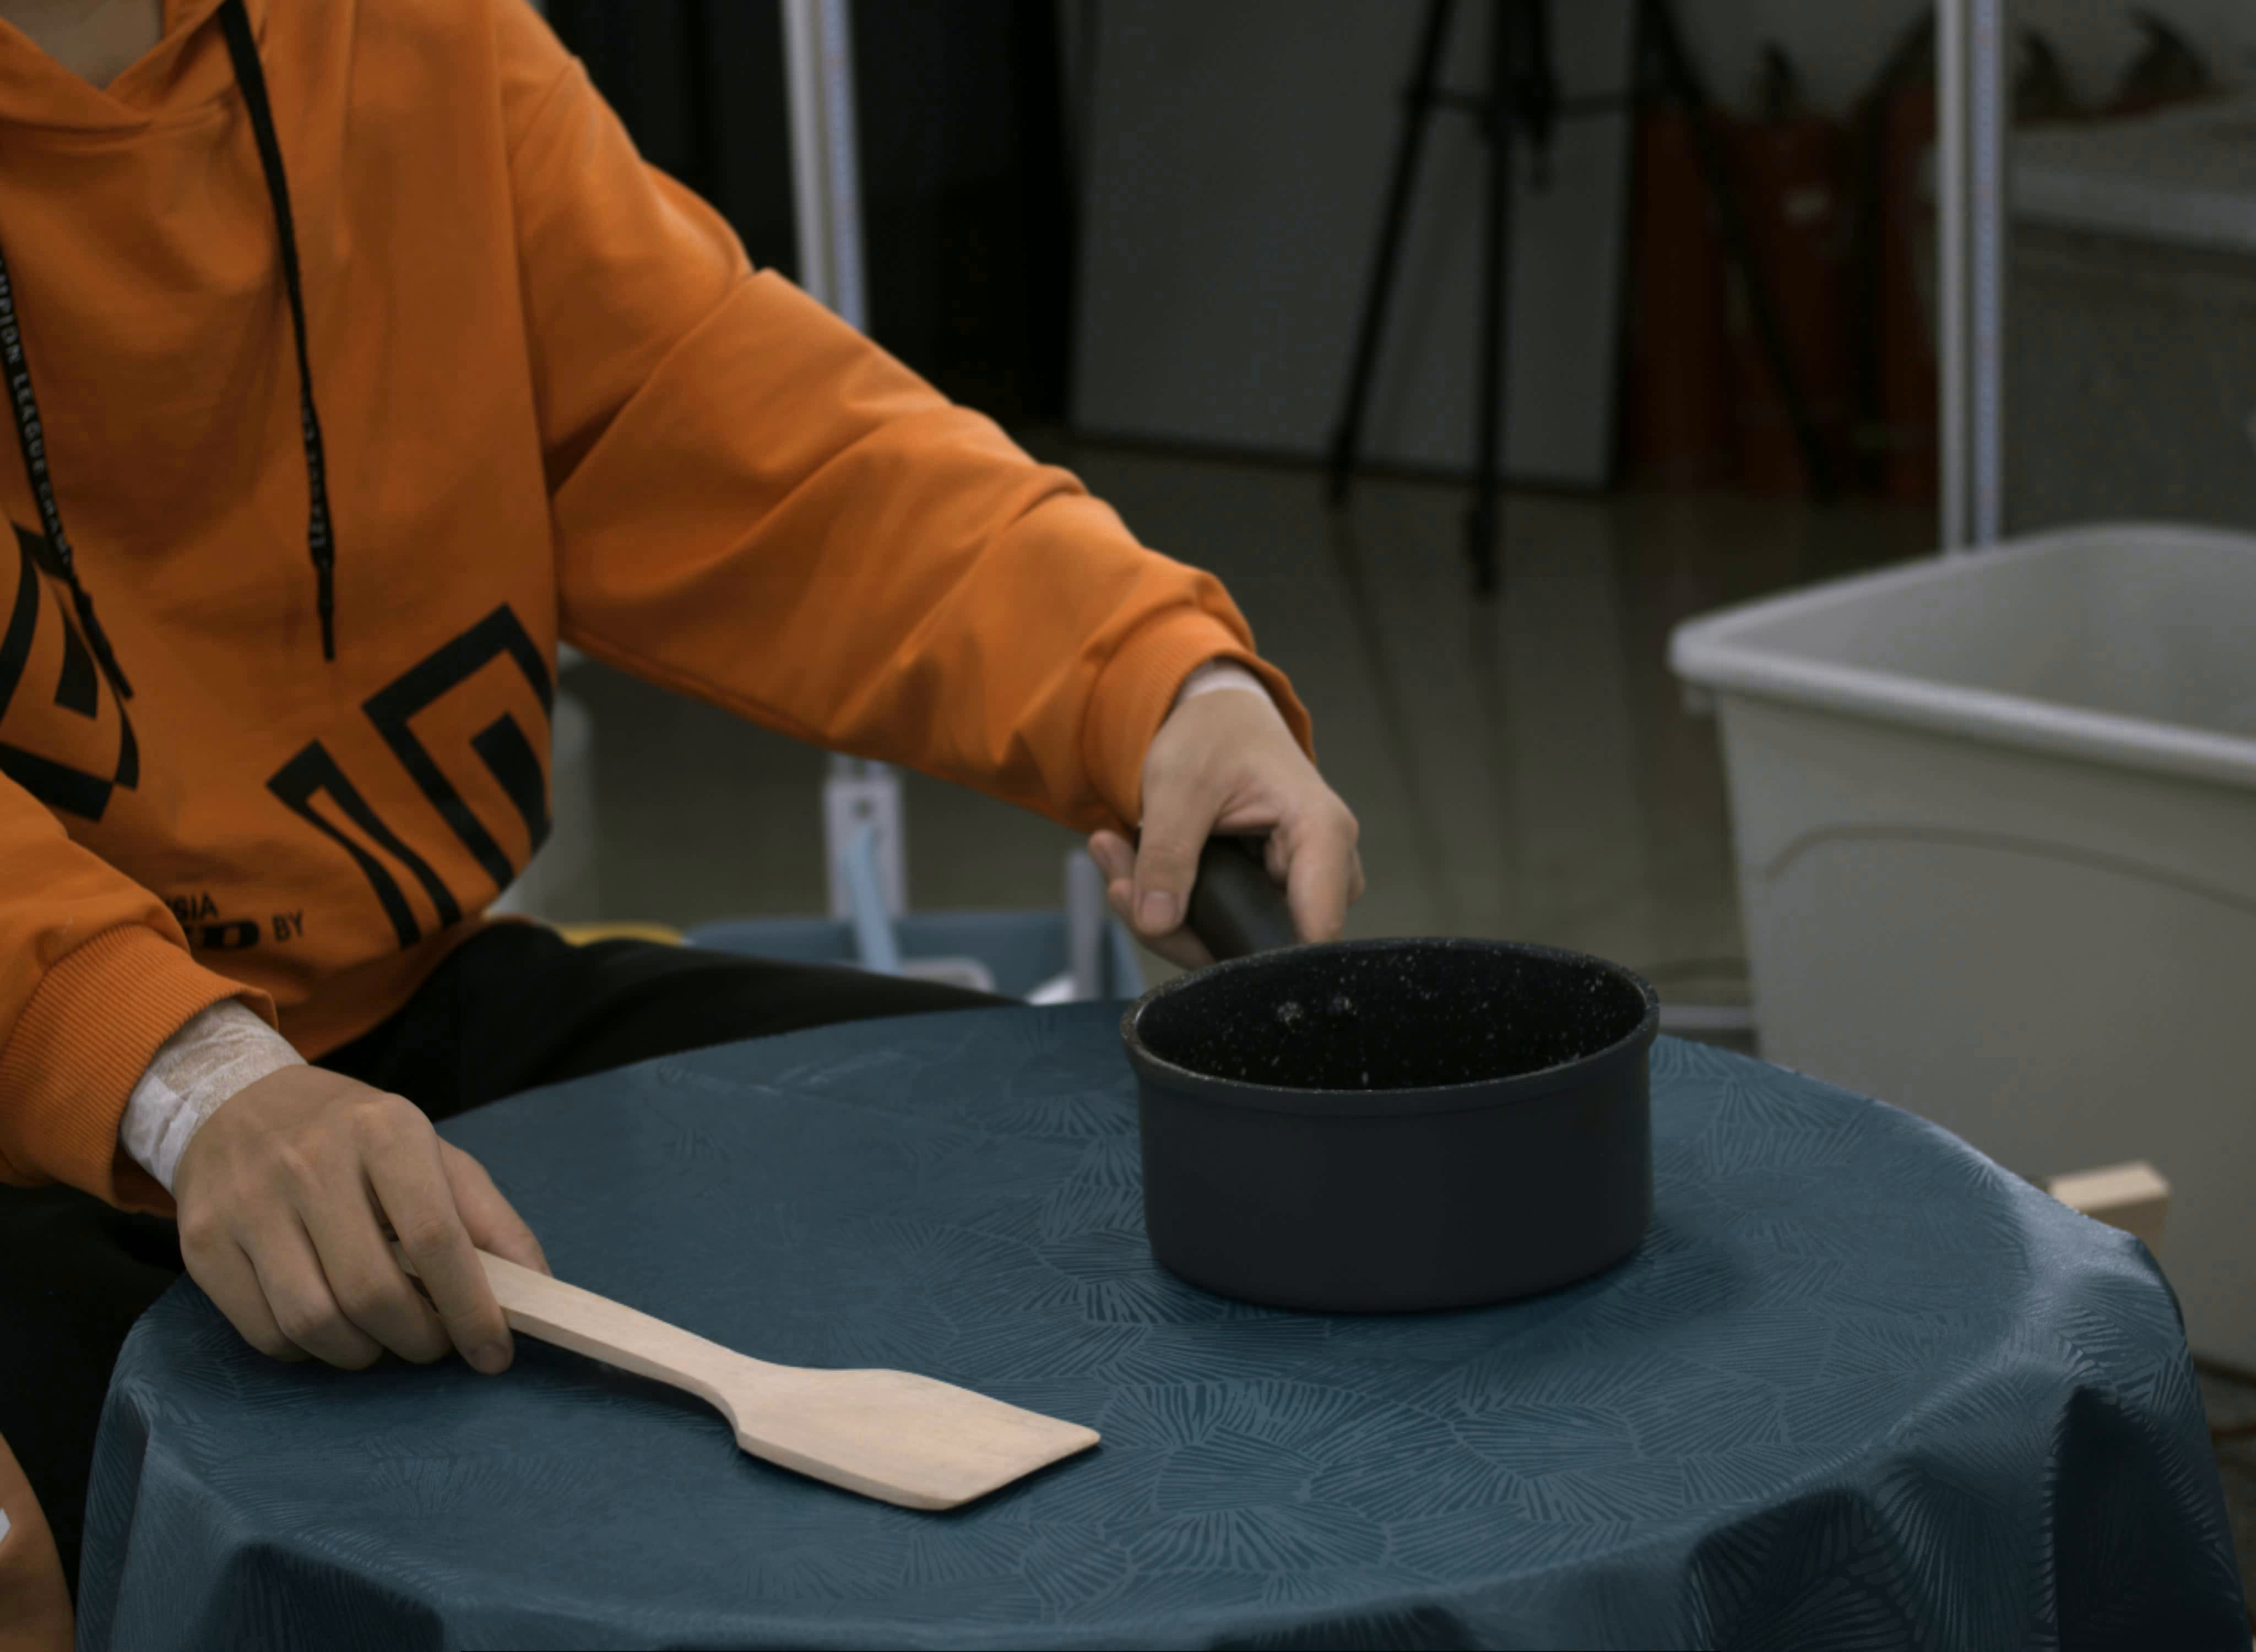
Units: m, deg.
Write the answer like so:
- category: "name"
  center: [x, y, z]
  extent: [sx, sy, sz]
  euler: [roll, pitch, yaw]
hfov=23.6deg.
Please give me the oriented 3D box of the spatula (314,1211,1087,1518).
- category: "spatula"
  center: [-0.140, 0.156, 1.610]
  extent: [0.295, 0.011, 0.071]
  euler: [15, 24, 40]

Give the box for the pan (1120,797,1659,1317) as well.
- category: "pan"
  center: [0.066, 0.072, 1.773]
  extent: [0.169, 0.087, 0.331]
  euler: [-6, 16, -11]
